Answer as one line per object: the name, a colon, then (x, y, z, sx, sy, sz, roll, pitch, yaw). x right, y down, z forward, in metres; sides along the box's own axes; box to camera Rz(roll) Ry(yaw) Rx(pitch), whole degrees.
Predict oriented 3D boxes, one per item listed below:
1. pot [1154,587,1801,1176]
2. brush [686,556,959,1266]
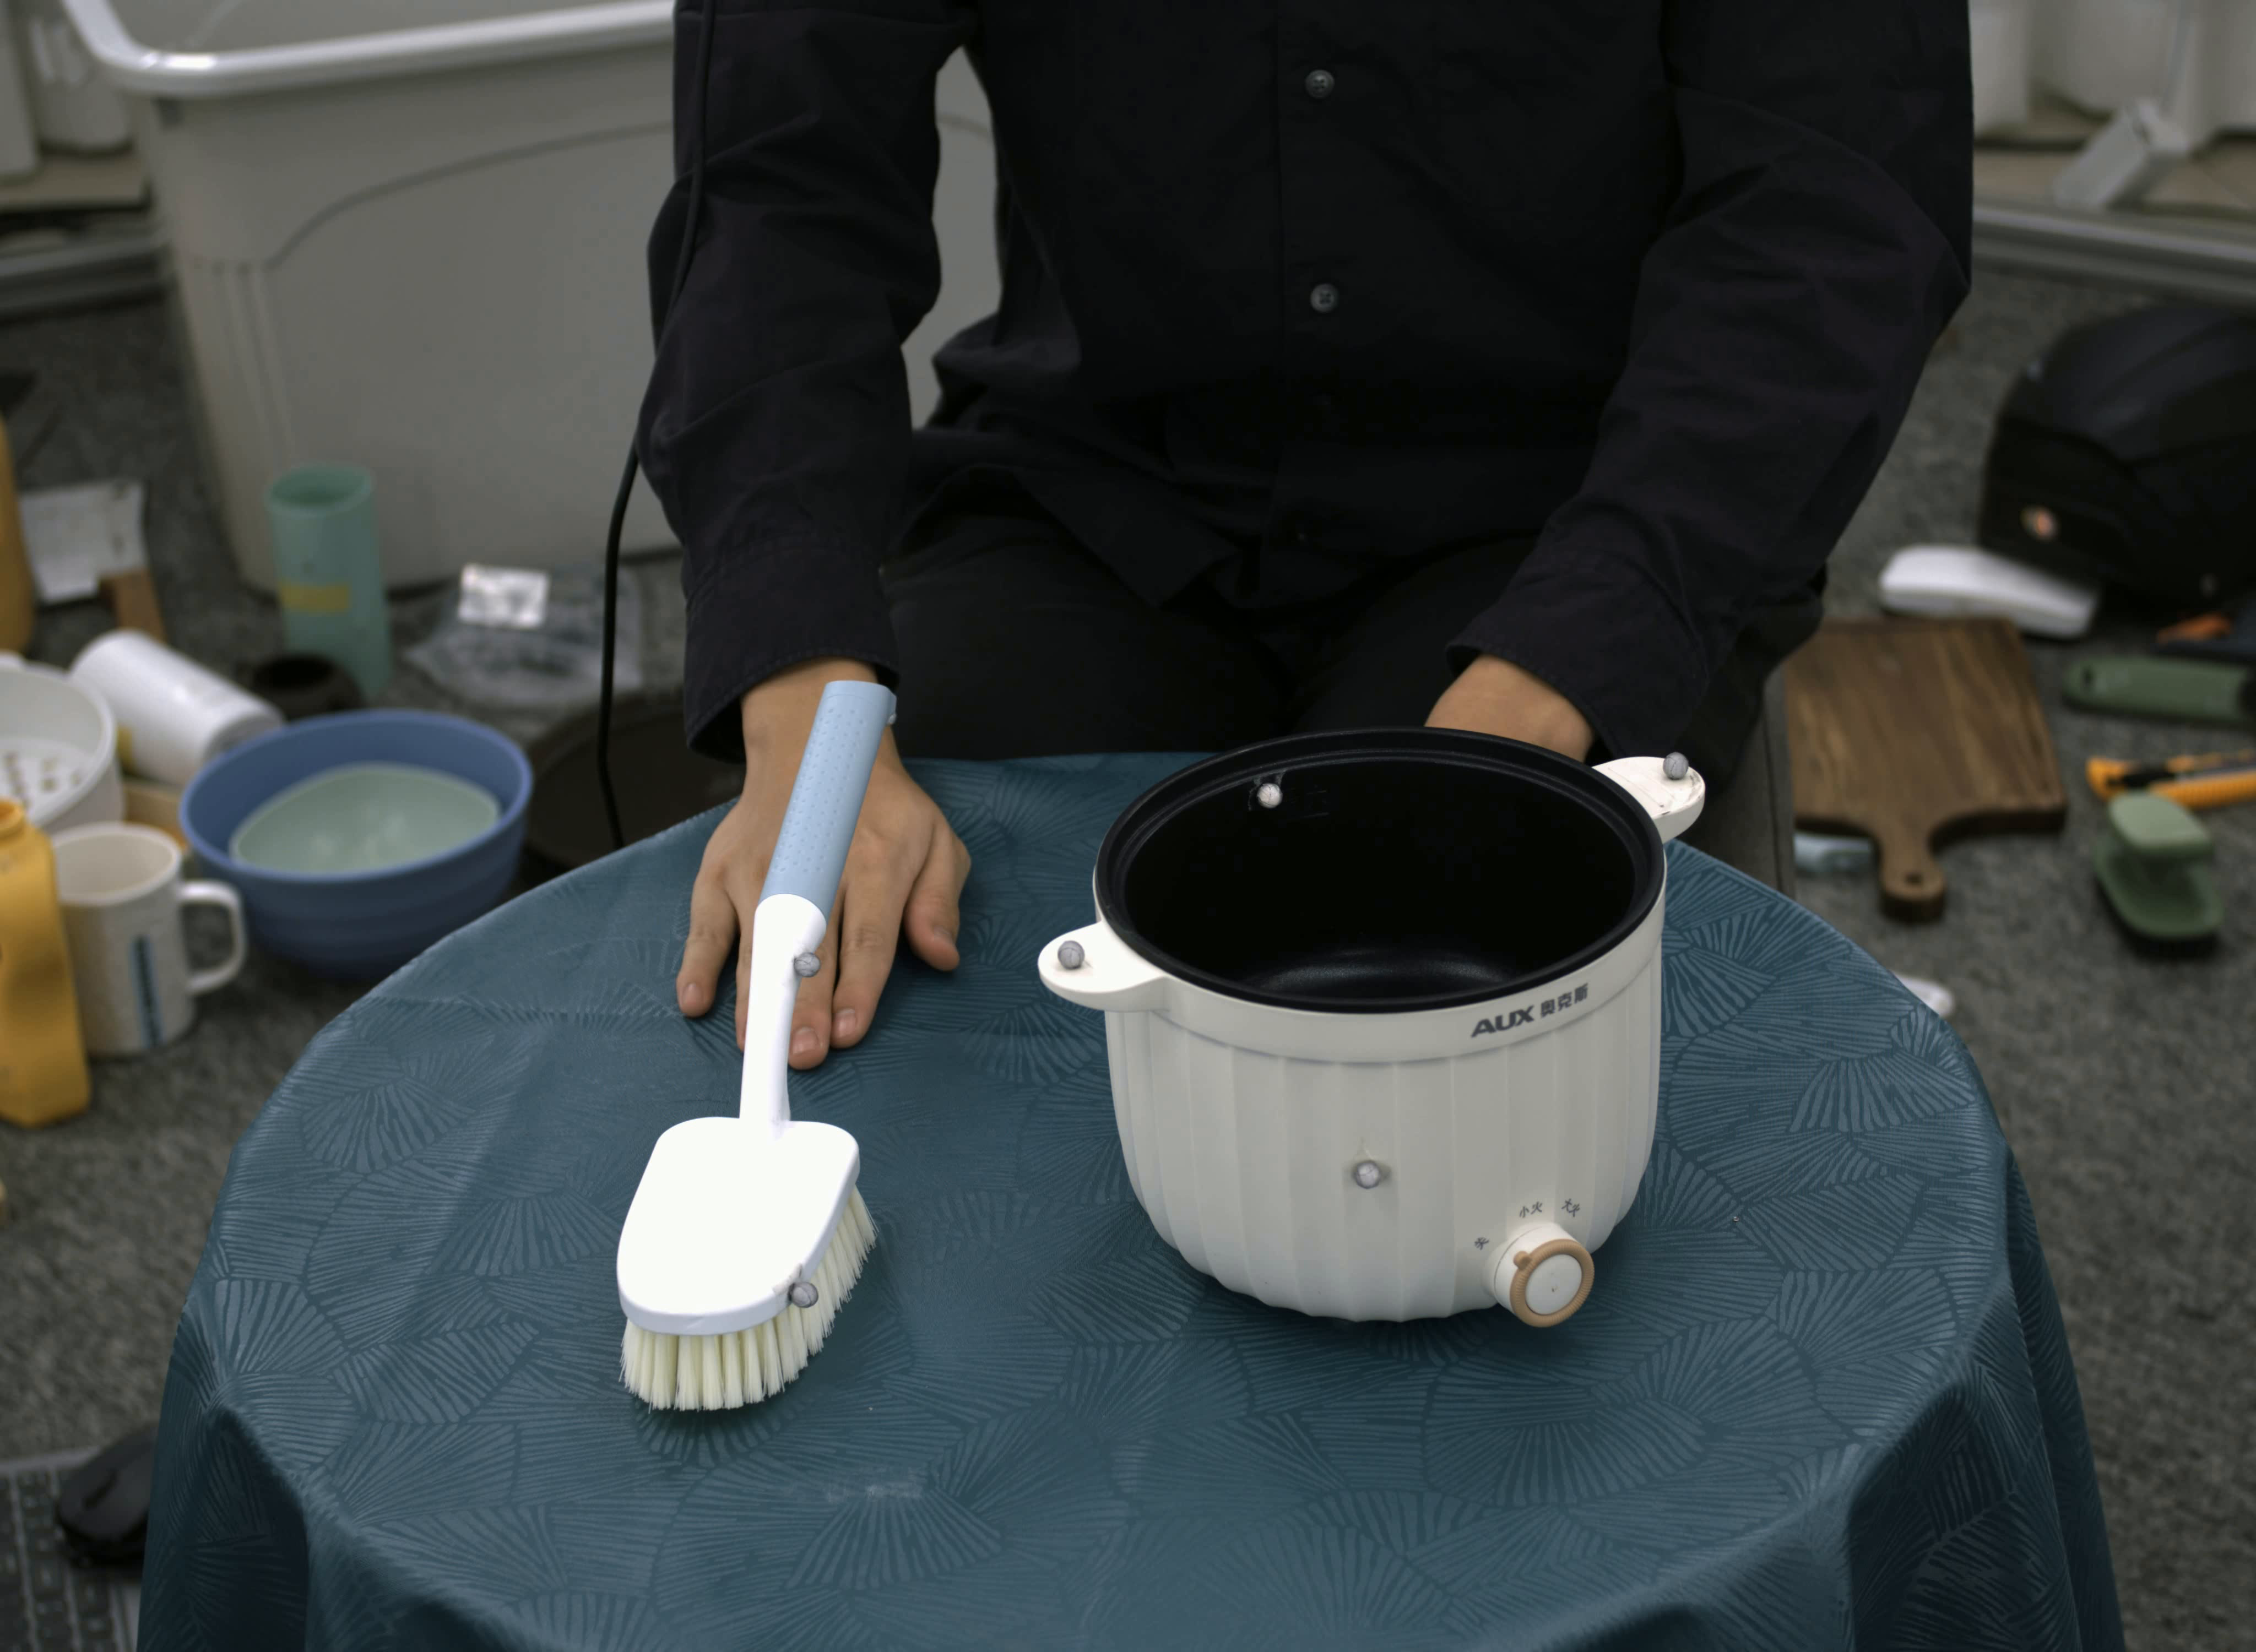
pot: (0.121, 0.024, 1.820, 0.242, 0.141, 0.191, -19, 29, -25)
brush: (-0.087, 0.037, 1.886, 0.083, 0.083, 0.332, 30, 39, -14)
